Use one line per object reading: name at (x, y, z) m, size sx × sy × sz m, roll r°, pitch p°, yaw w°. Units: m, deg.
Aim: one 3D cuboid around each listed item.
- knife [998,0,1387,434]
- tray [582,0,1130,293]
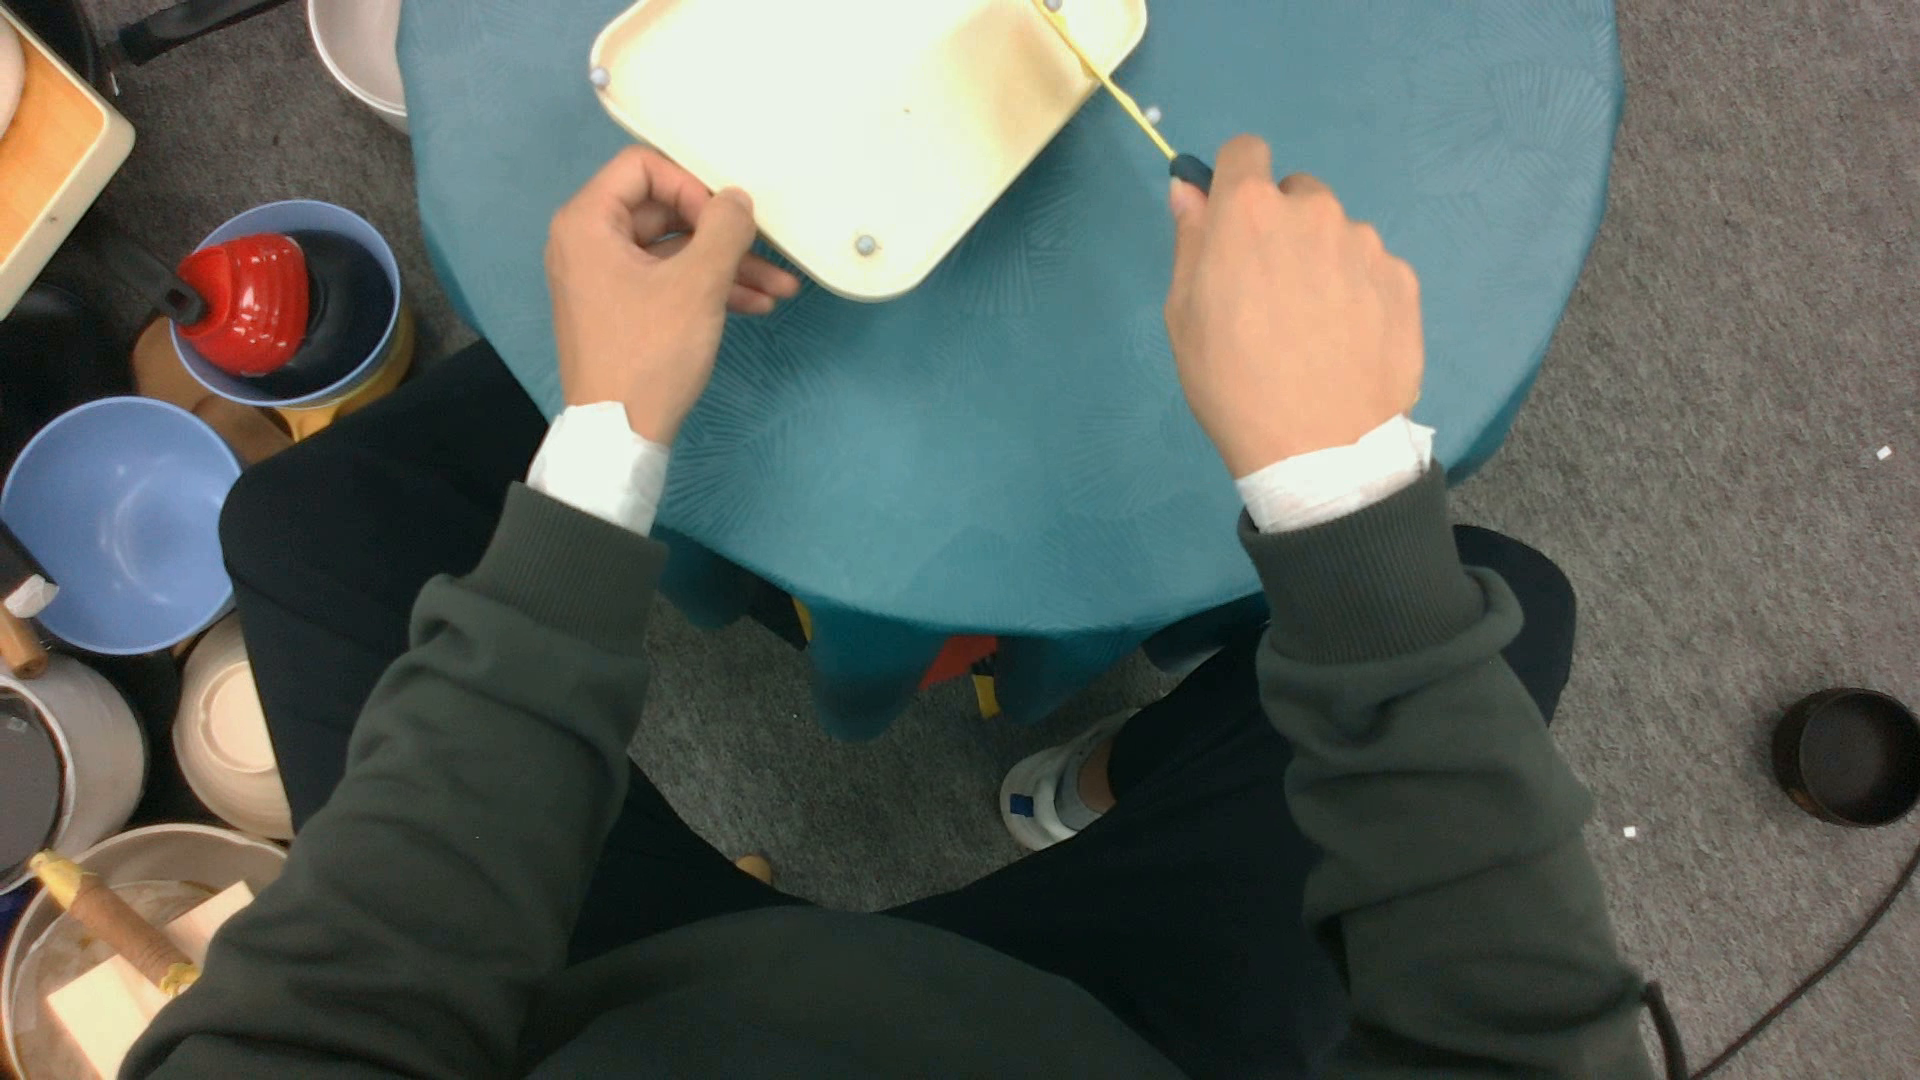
knife at (0.082, -0.152, 0.575) m, size 0.027 × 0.081 × 0.290 m, roll -41°, pitch 65°, yaw 16°
tray at (-0.039, -0.228, 0.629) m, size 0.171 × 0.017 × 0.240 m, roll 39°, pitch 65°, yaw -1°
